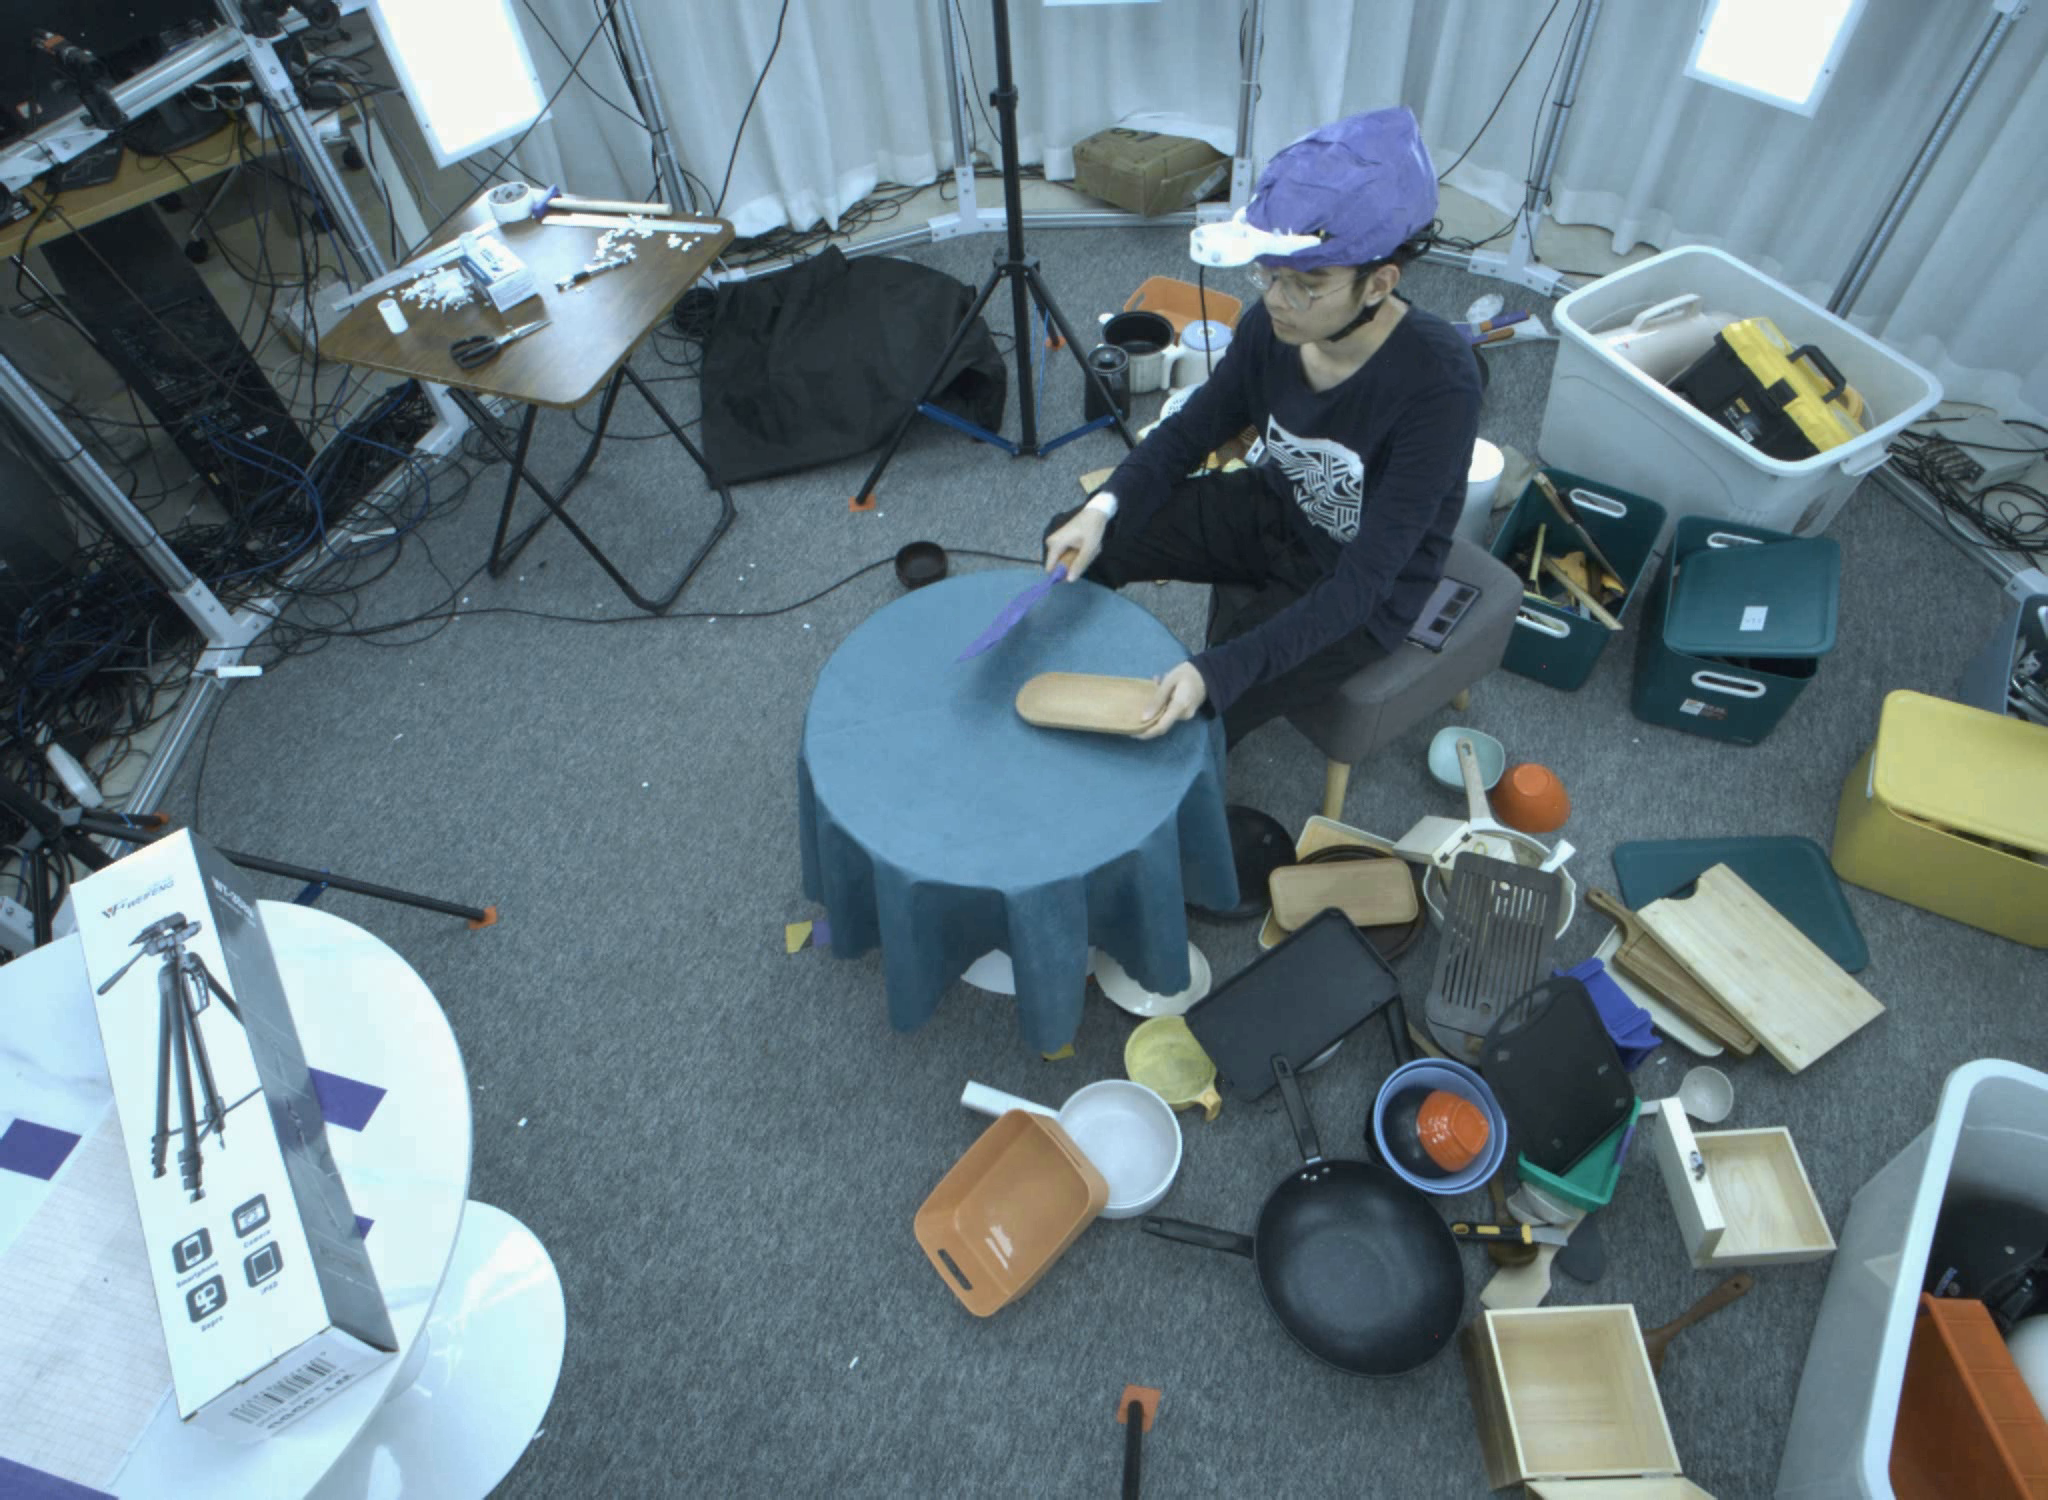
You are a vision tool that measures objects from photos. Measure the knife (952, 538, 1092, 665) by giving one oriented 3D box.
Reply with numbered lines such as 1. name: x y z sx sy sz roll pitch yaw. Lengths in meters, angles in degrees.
1. knife: -0.006 -0.230 1.879 0.102 0.032 0.317 -14 26 47

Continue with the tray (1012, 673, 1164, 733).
1. tray: 0.093 -0.069 1.807 0.228 0.020 0.101 4 50 21
